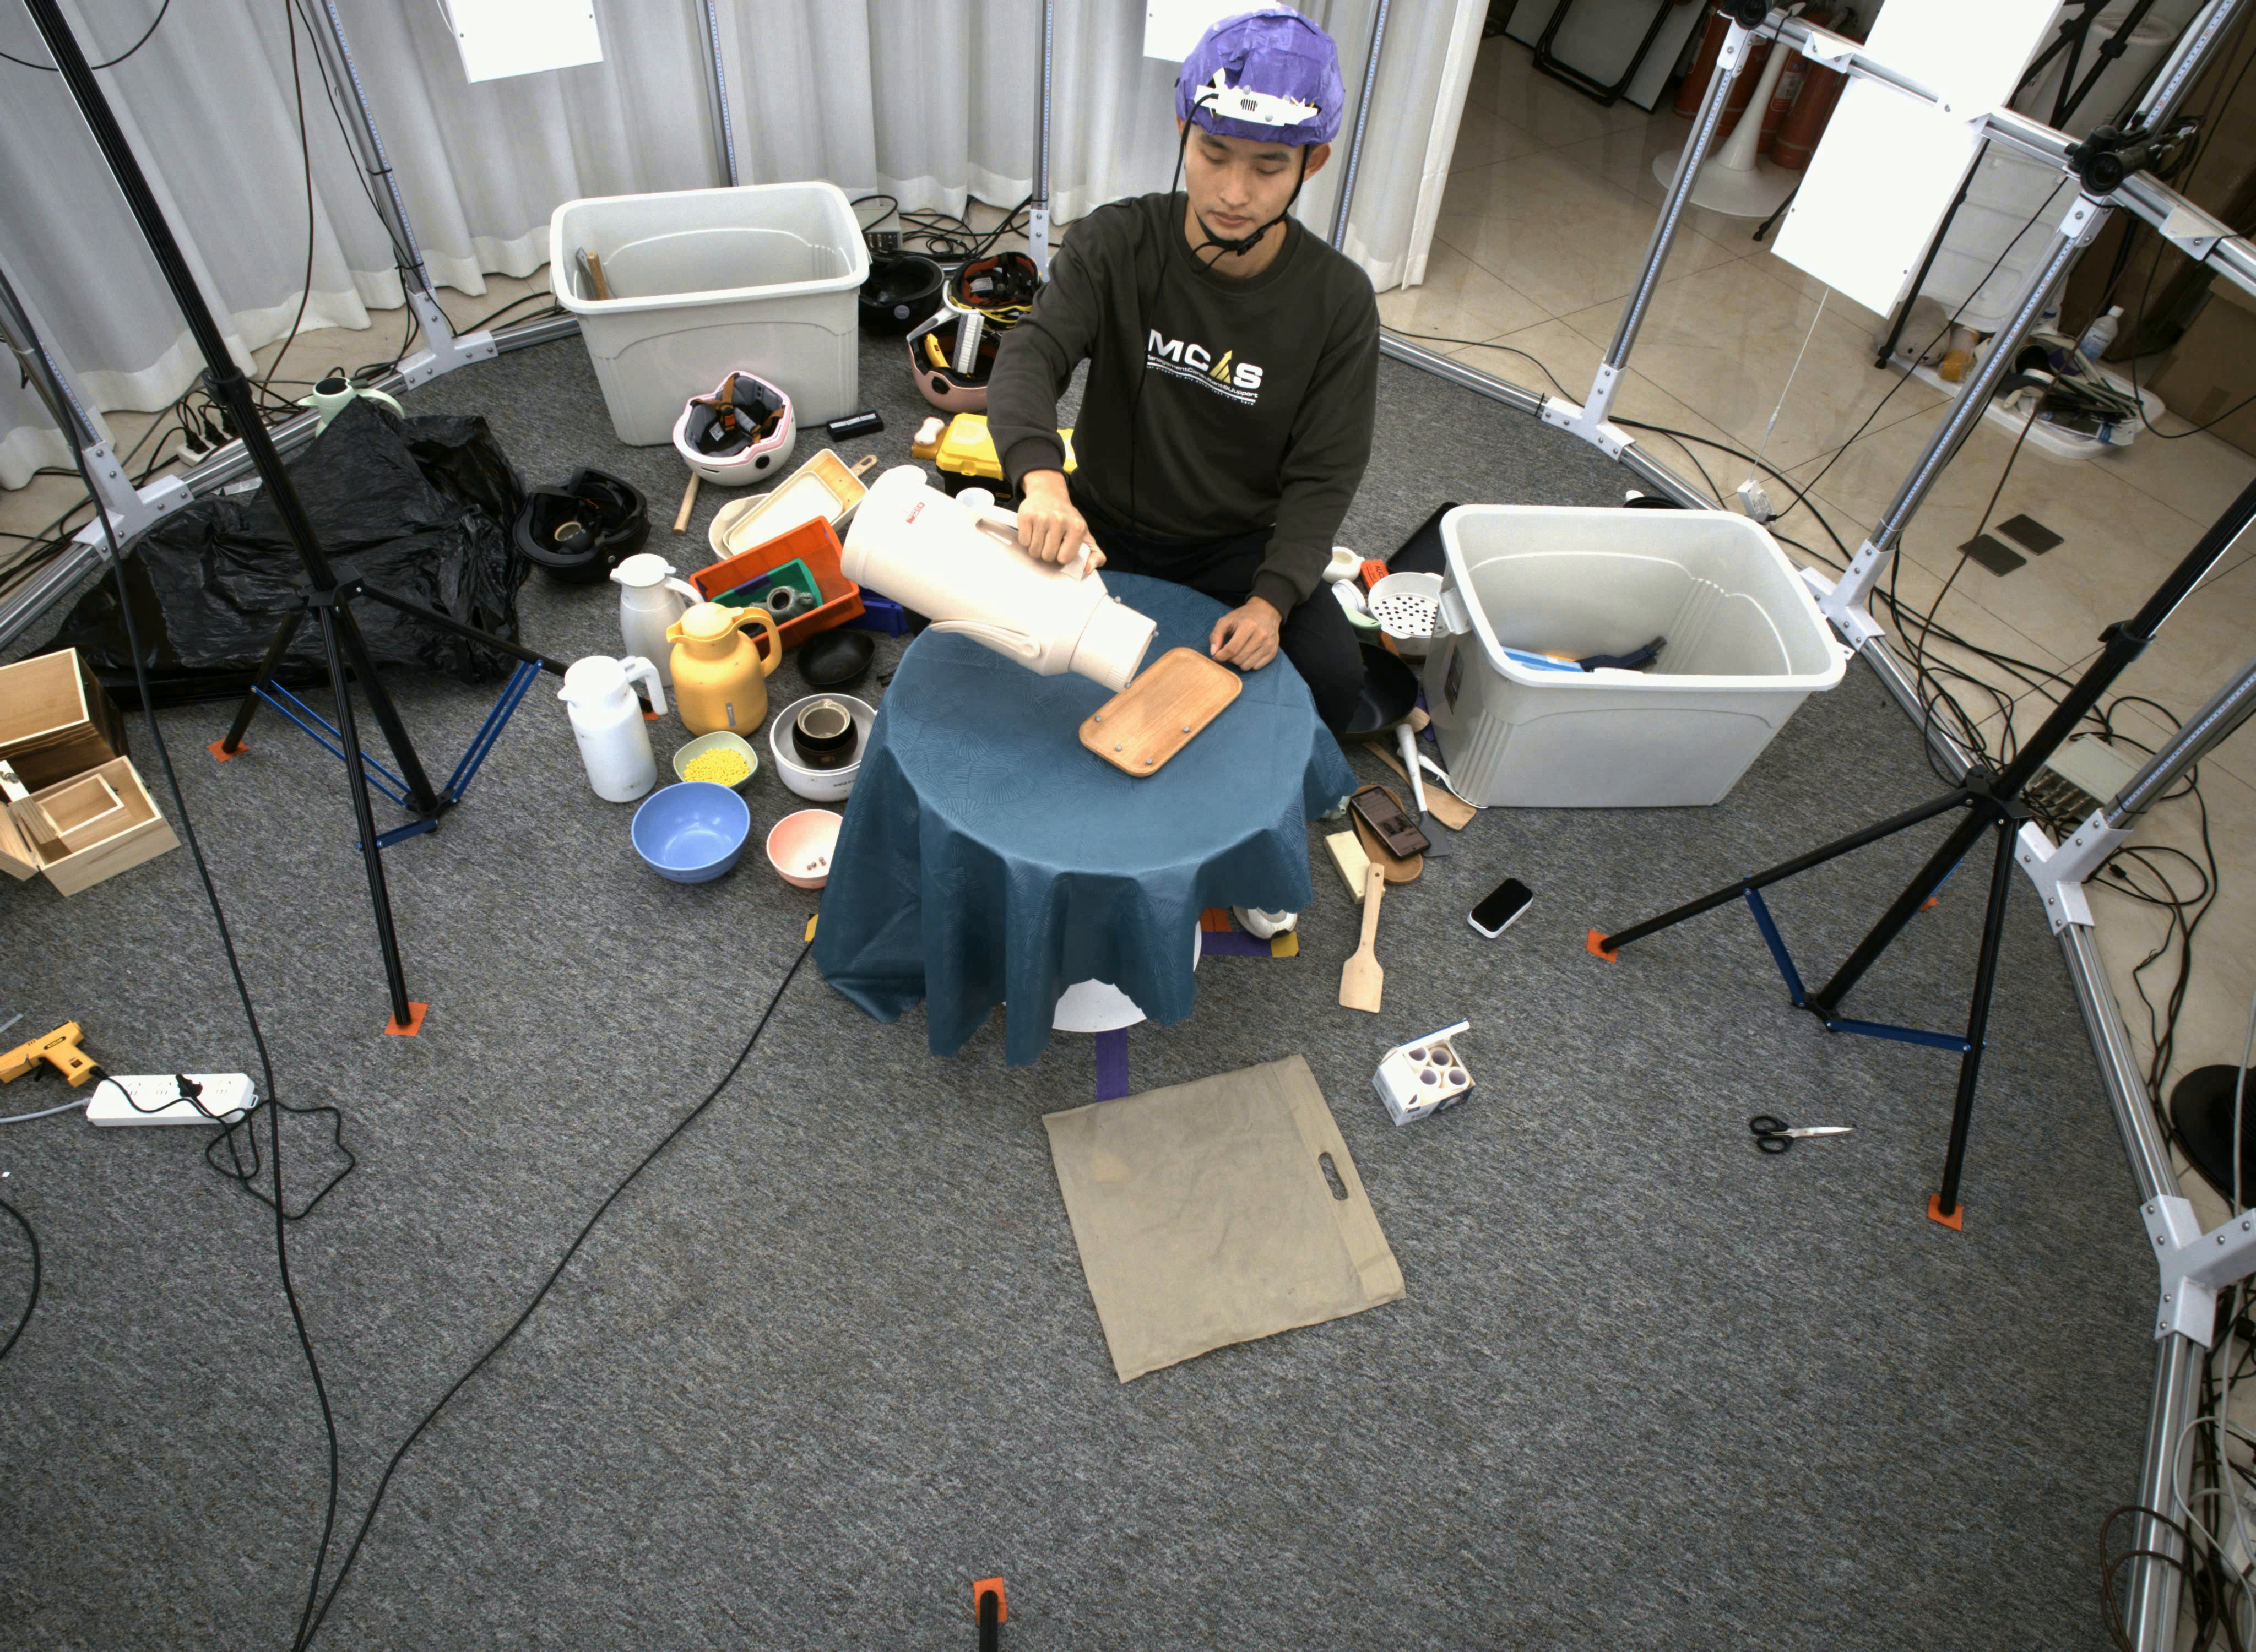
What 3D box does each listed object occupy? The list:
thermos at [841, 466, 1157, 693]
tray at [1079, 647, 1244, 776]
[{"bbox_3d":[-0.158,-0.322,1.688,0.407,0.203,0.178,28,45,4],"label":"thermos"},{"bbox_3d":[0.049,-0.163,1.799,0.132,0.022,0.253,35,54,21],"label":"tray"}]
